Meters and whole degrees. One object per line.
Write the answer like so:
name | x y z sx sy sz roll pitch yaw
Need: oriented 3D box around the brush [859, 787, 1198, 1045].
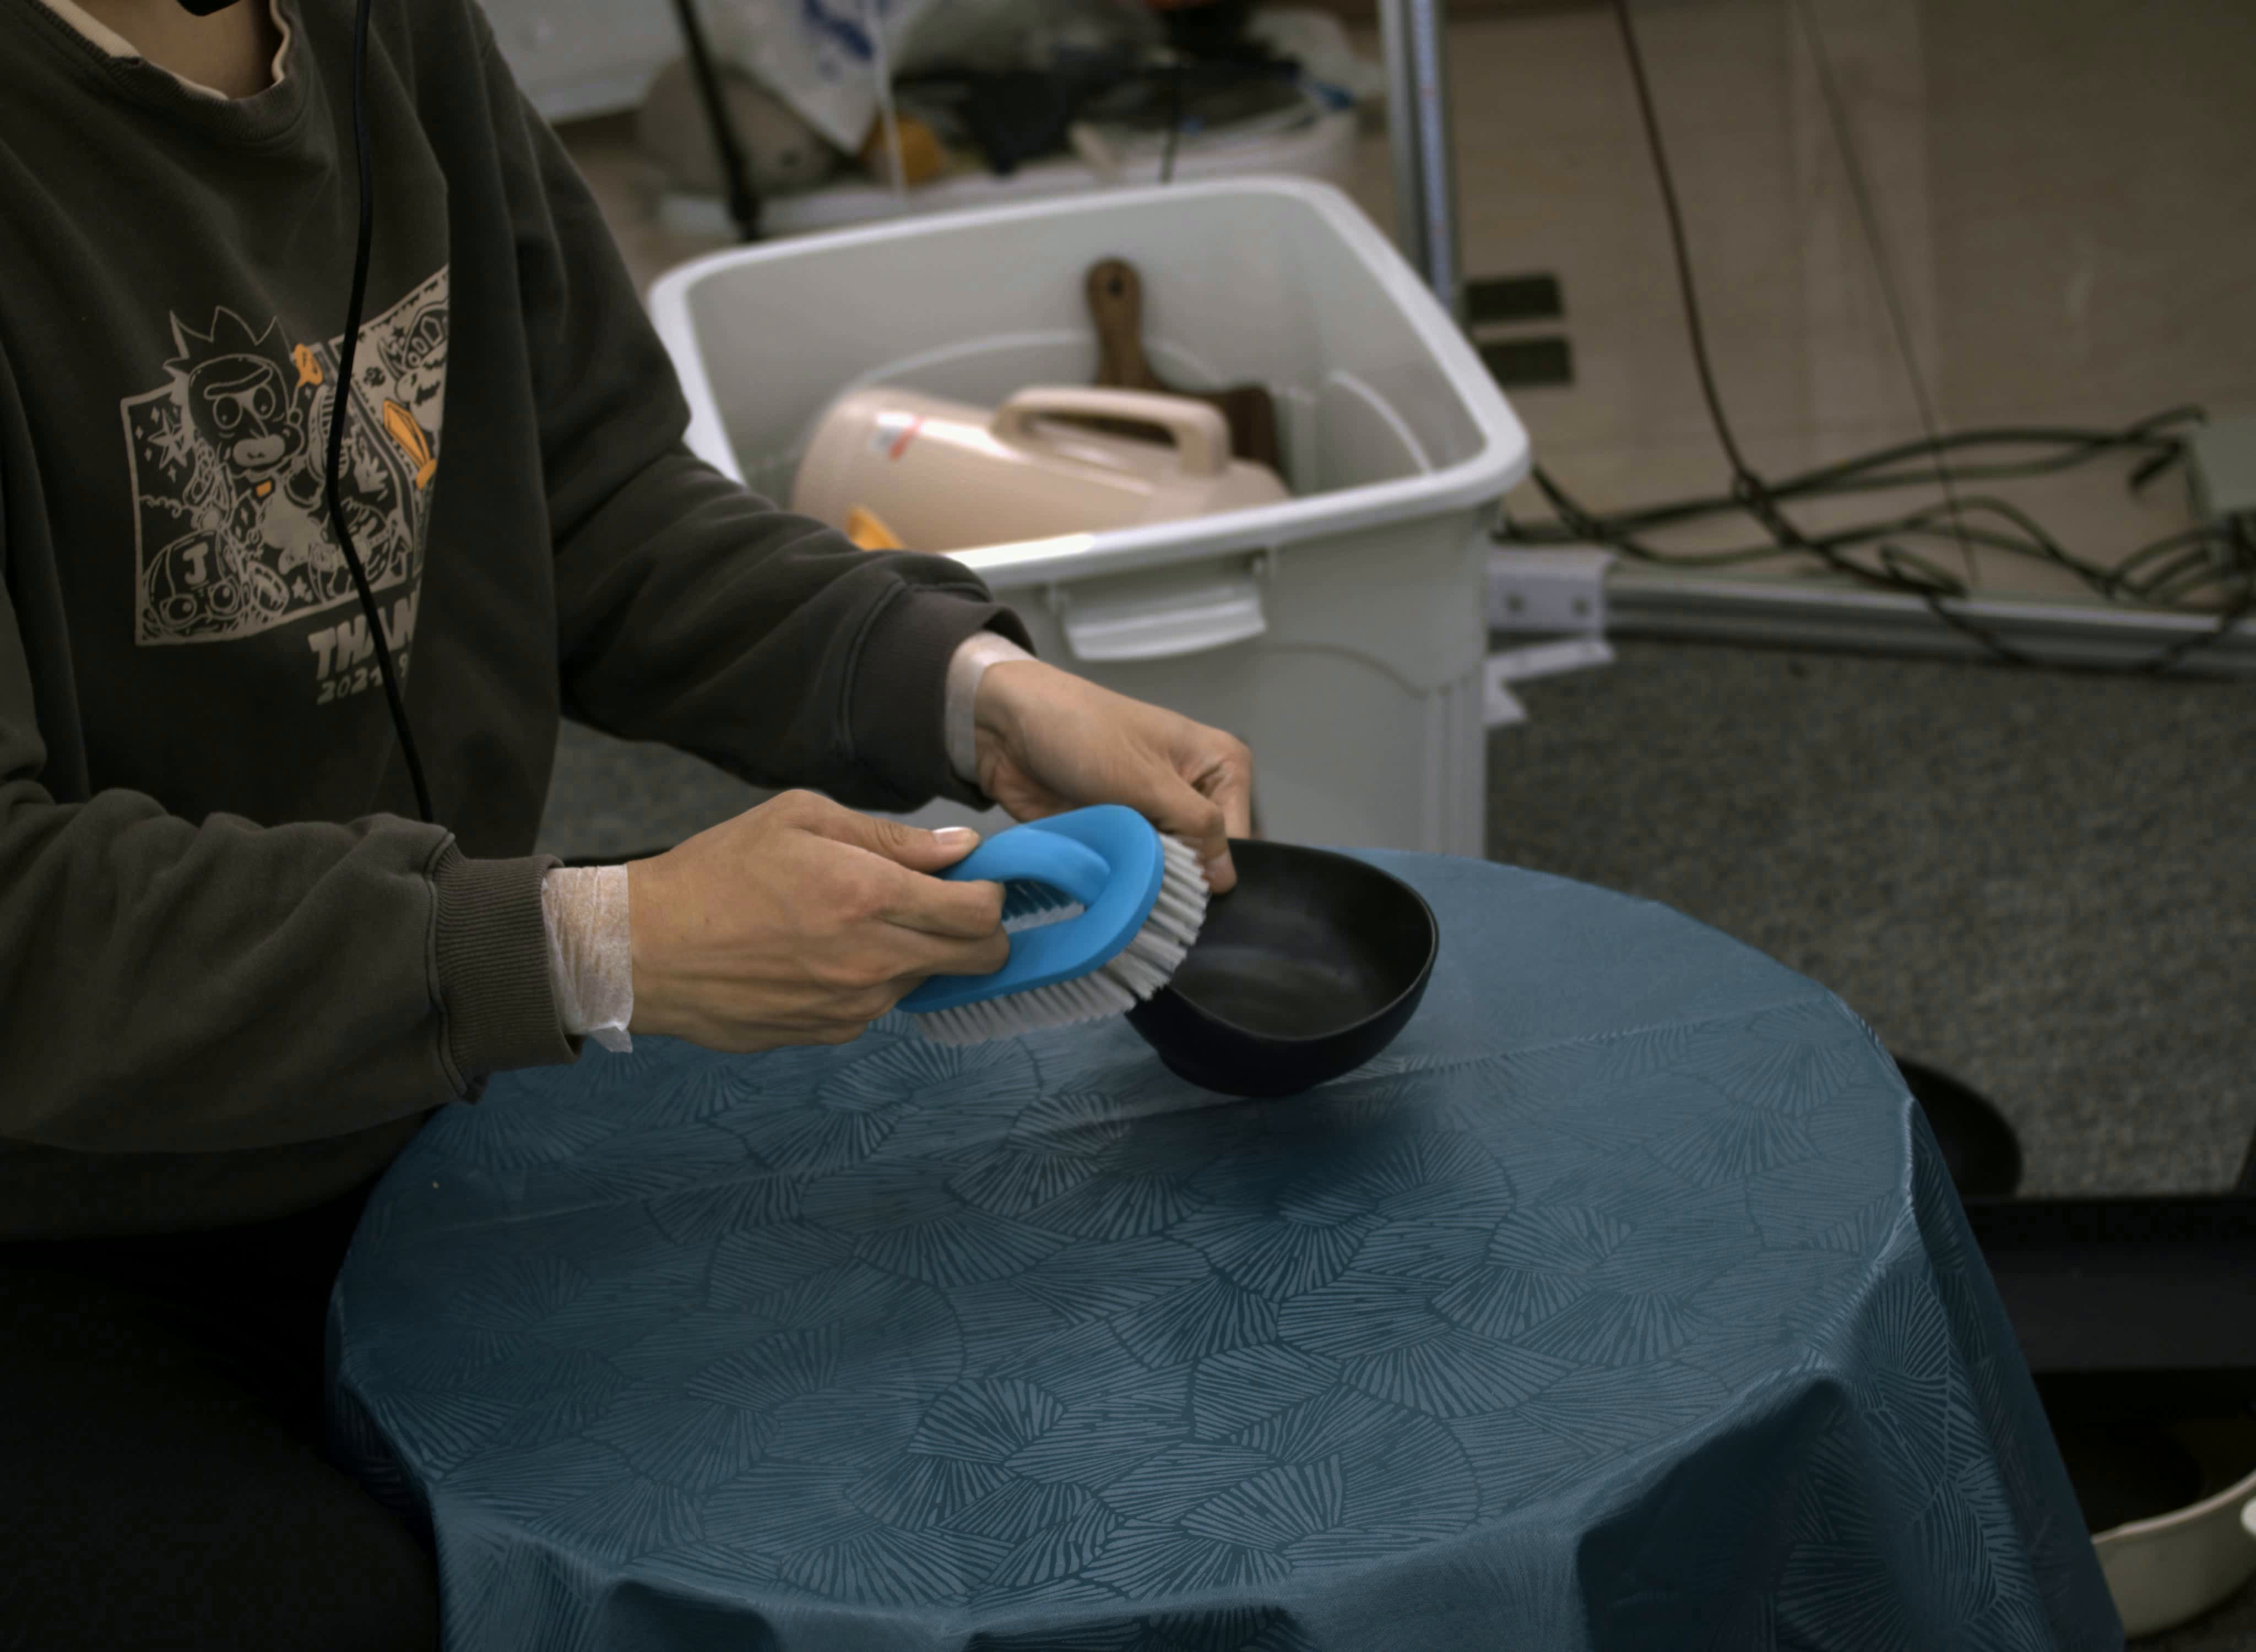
brush | -0.047 0.027 2.082 0.142 0.064 0.083 -10 57 39

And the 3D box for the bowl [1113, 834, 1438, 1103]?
bowl | 0.049 0.063 2.192 0.137 0.068 0.168 2 26 -10
